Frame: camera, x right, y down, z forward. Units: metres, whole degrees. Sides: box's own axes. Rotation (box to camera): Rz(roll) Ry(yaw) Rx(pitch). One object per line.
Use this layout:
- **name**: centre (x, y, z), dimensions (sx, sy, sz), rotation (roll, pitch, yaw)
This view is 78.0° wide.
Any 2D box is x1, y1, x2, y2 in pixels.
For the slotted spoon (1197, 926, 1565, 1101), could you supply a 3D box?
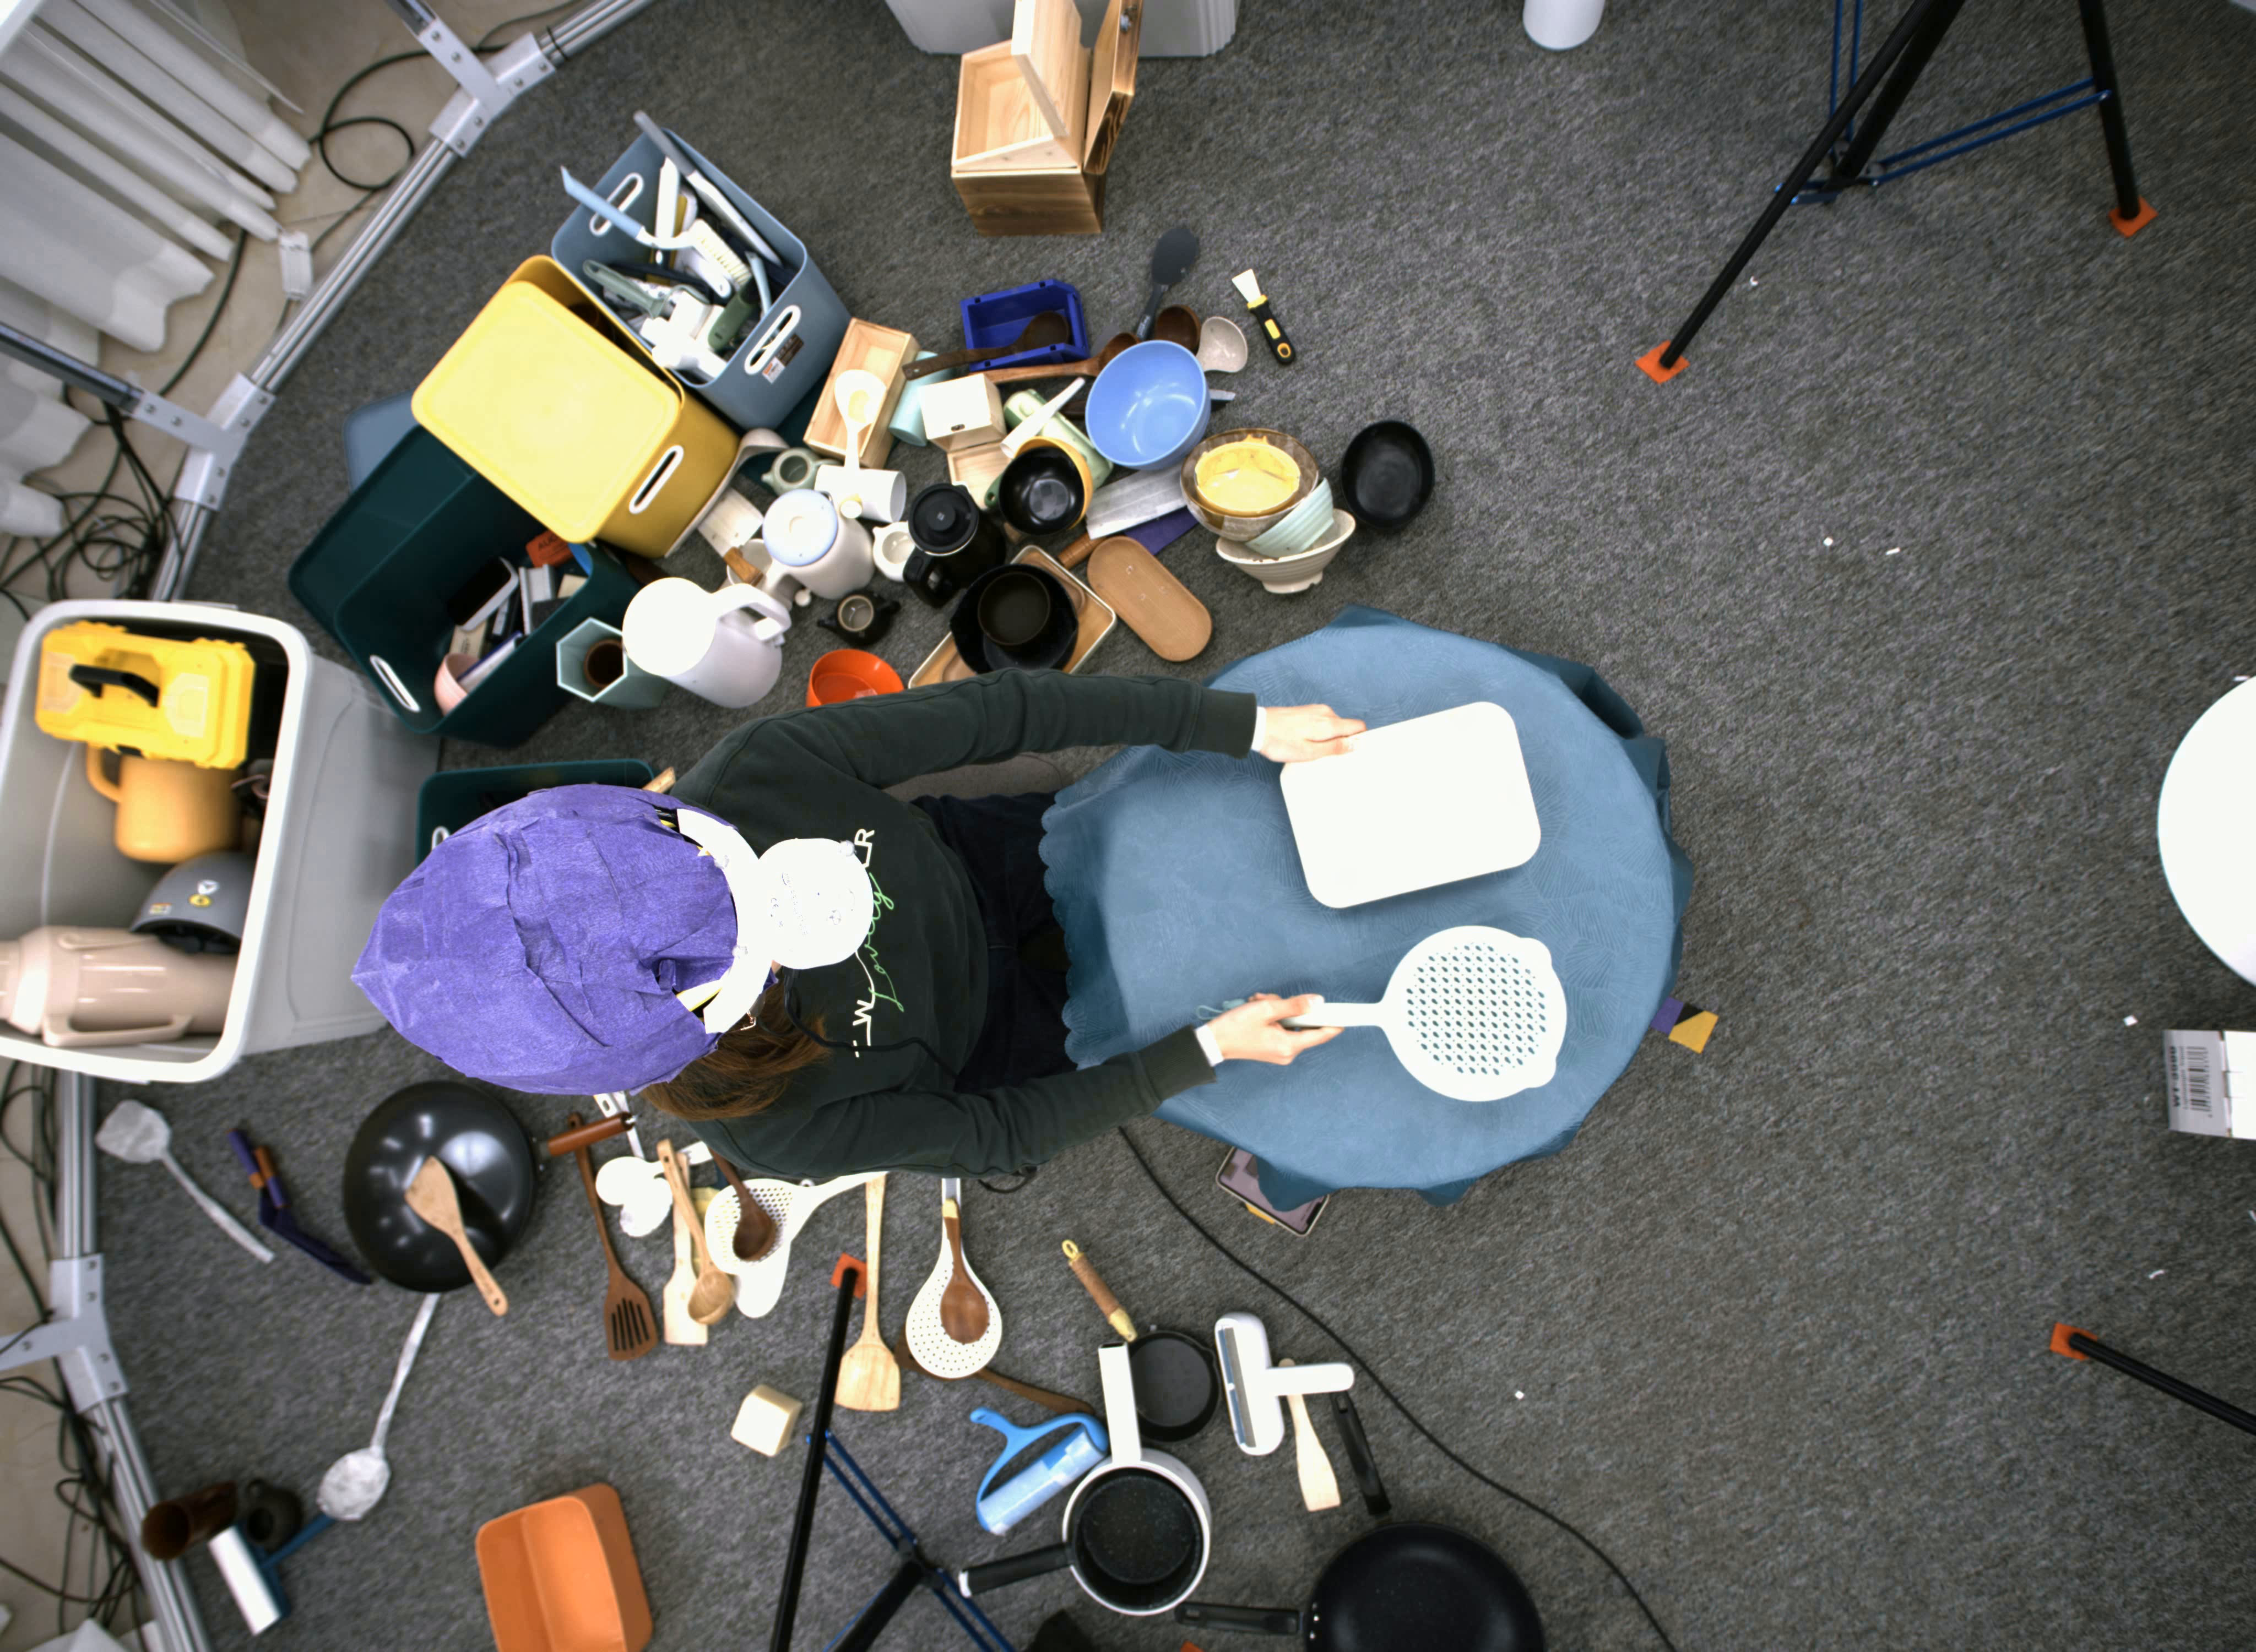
- **slotted spoon**: centre (0.244, 0.185, 1.373), dimensions (0.360, 0.075, 0.169), rotation (-3, 89, 9)

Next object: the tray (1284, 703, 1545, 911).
- **tray**: centre (0.289, -0.020, 1.398), dimensions (0.241, 0.017, 0.172), rotation (-15, 98, 13)
